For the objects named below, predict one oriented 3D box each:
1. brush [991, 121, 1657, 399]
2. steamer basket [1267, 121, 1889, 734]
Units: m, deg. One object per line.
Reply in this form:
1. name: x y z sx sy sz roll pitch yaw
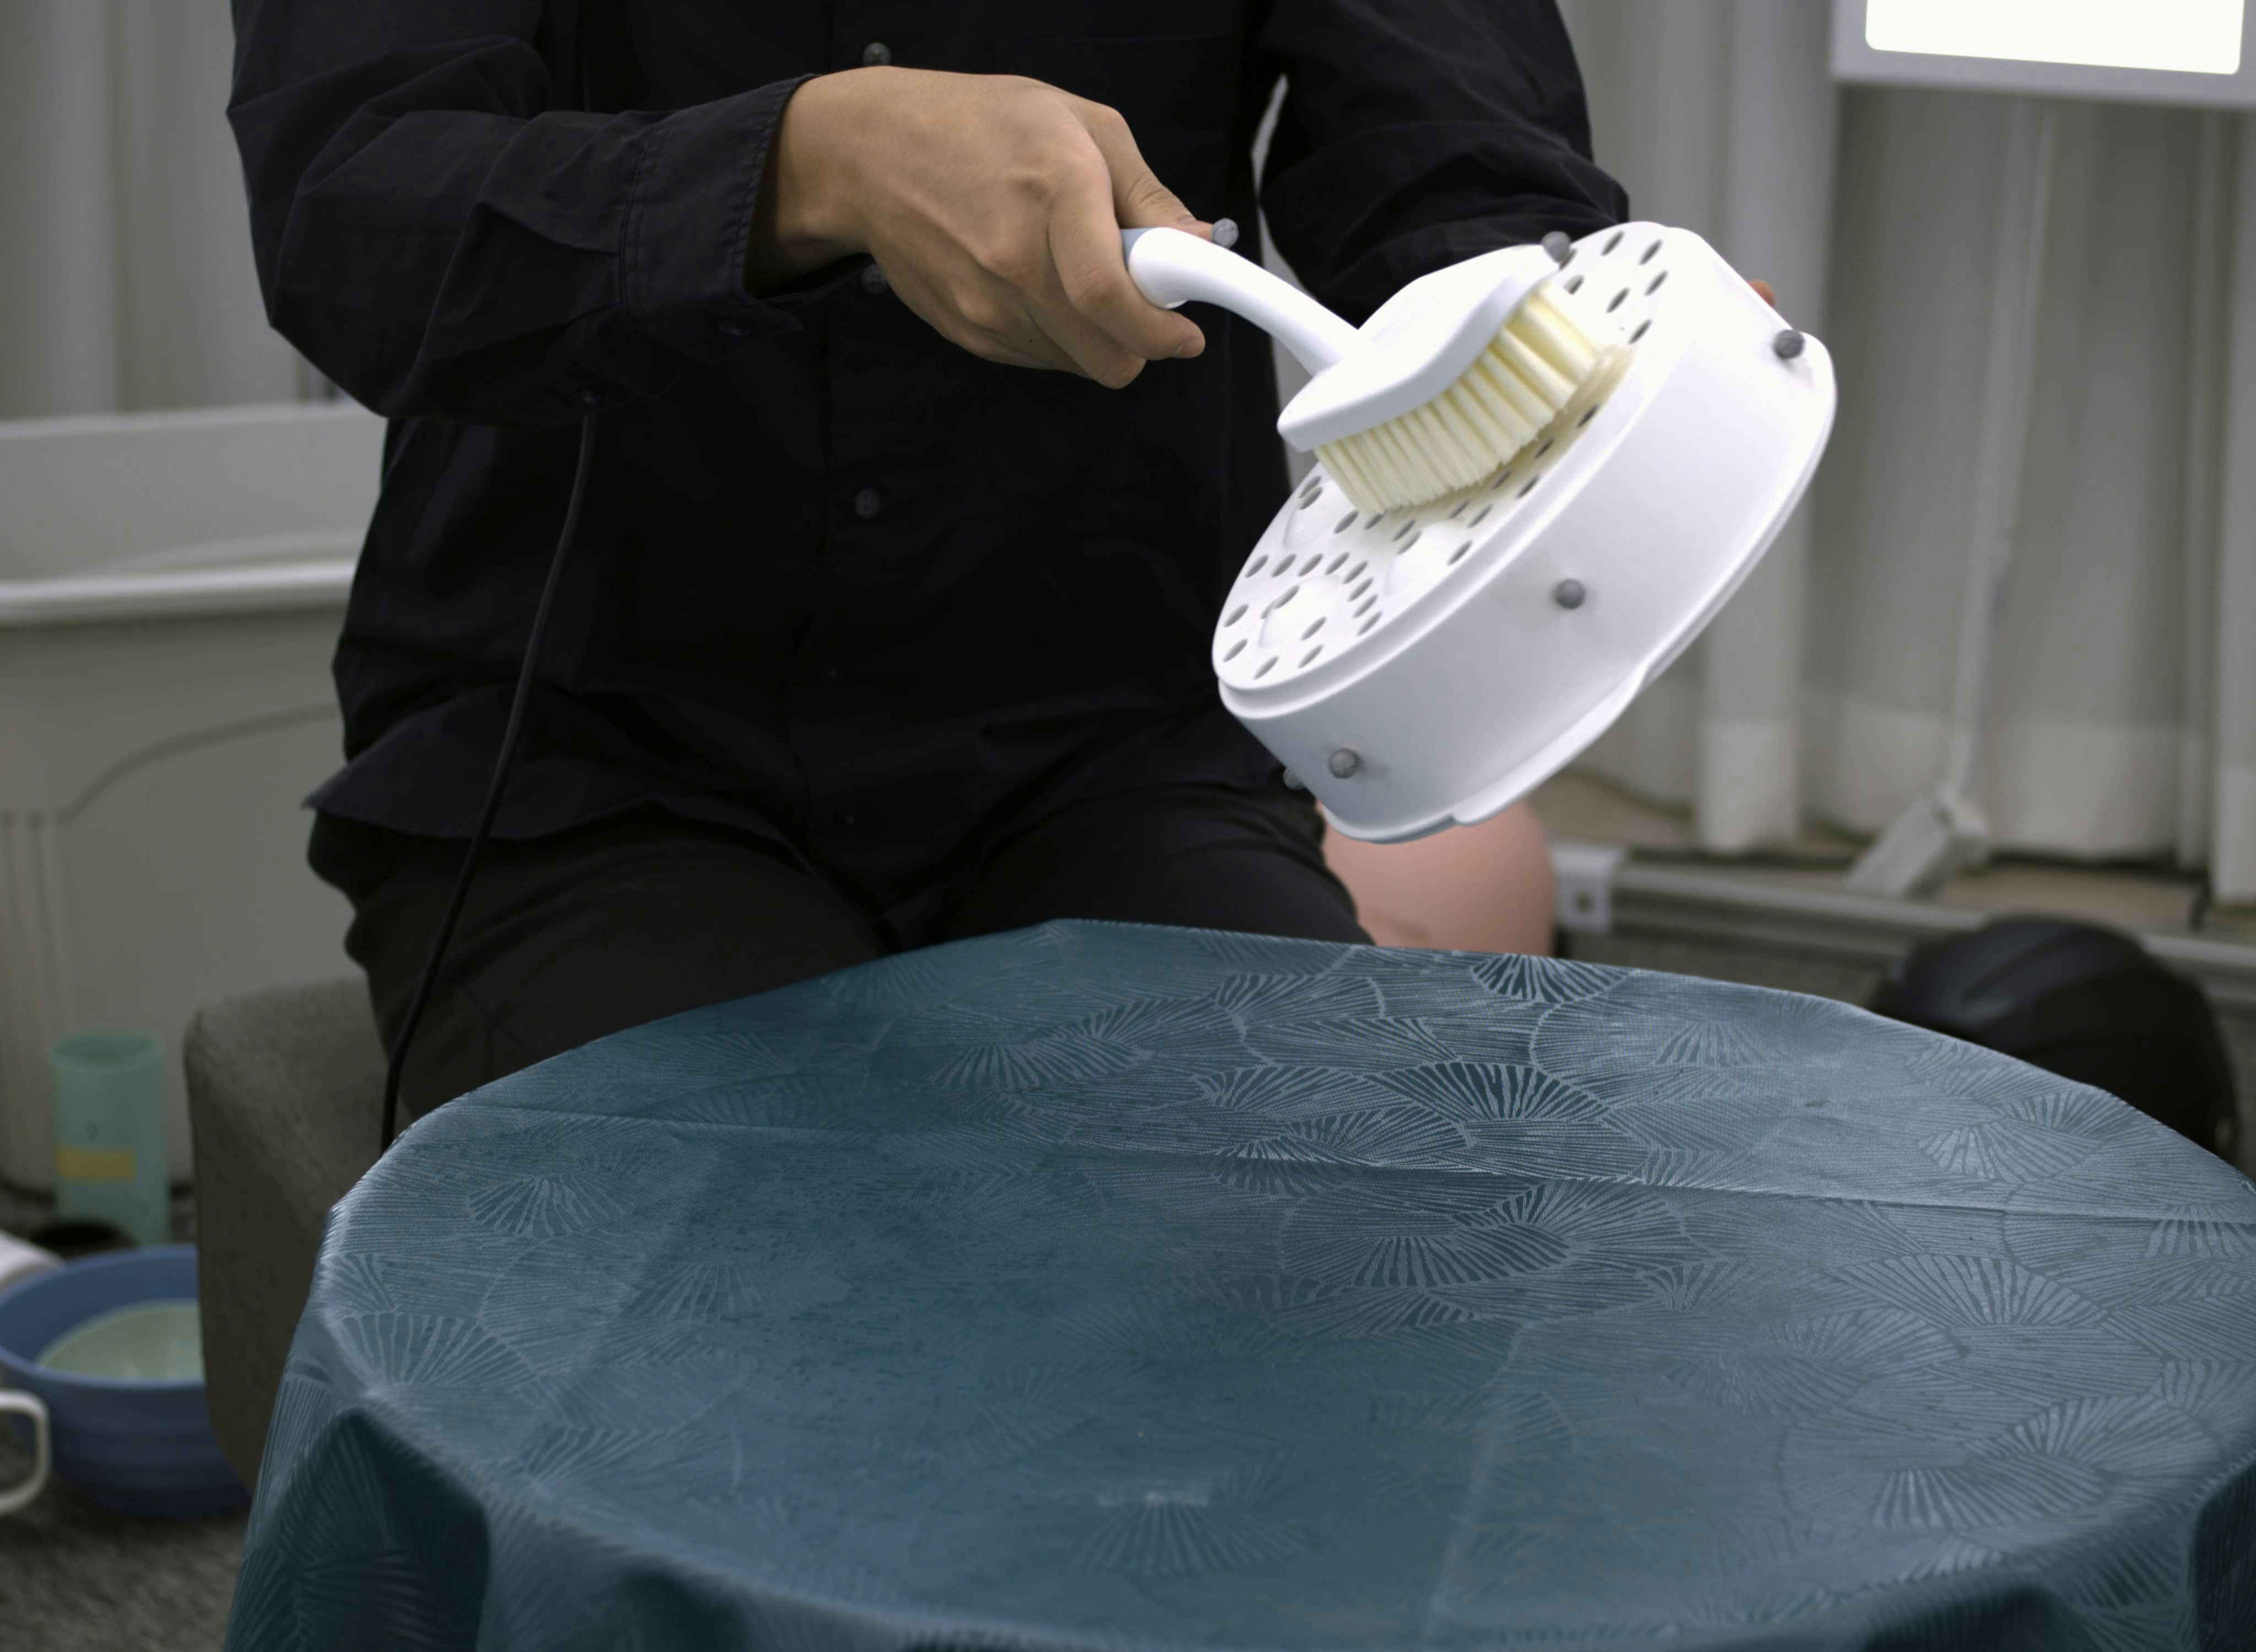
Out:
1. brush: 0.063 -0.174 1.611 0.083 0.085 0.322 -6 8 -30
2. steamer basket: 0.129 -0.122 1.562 0.201 0.070 0.229 -37 20 26
